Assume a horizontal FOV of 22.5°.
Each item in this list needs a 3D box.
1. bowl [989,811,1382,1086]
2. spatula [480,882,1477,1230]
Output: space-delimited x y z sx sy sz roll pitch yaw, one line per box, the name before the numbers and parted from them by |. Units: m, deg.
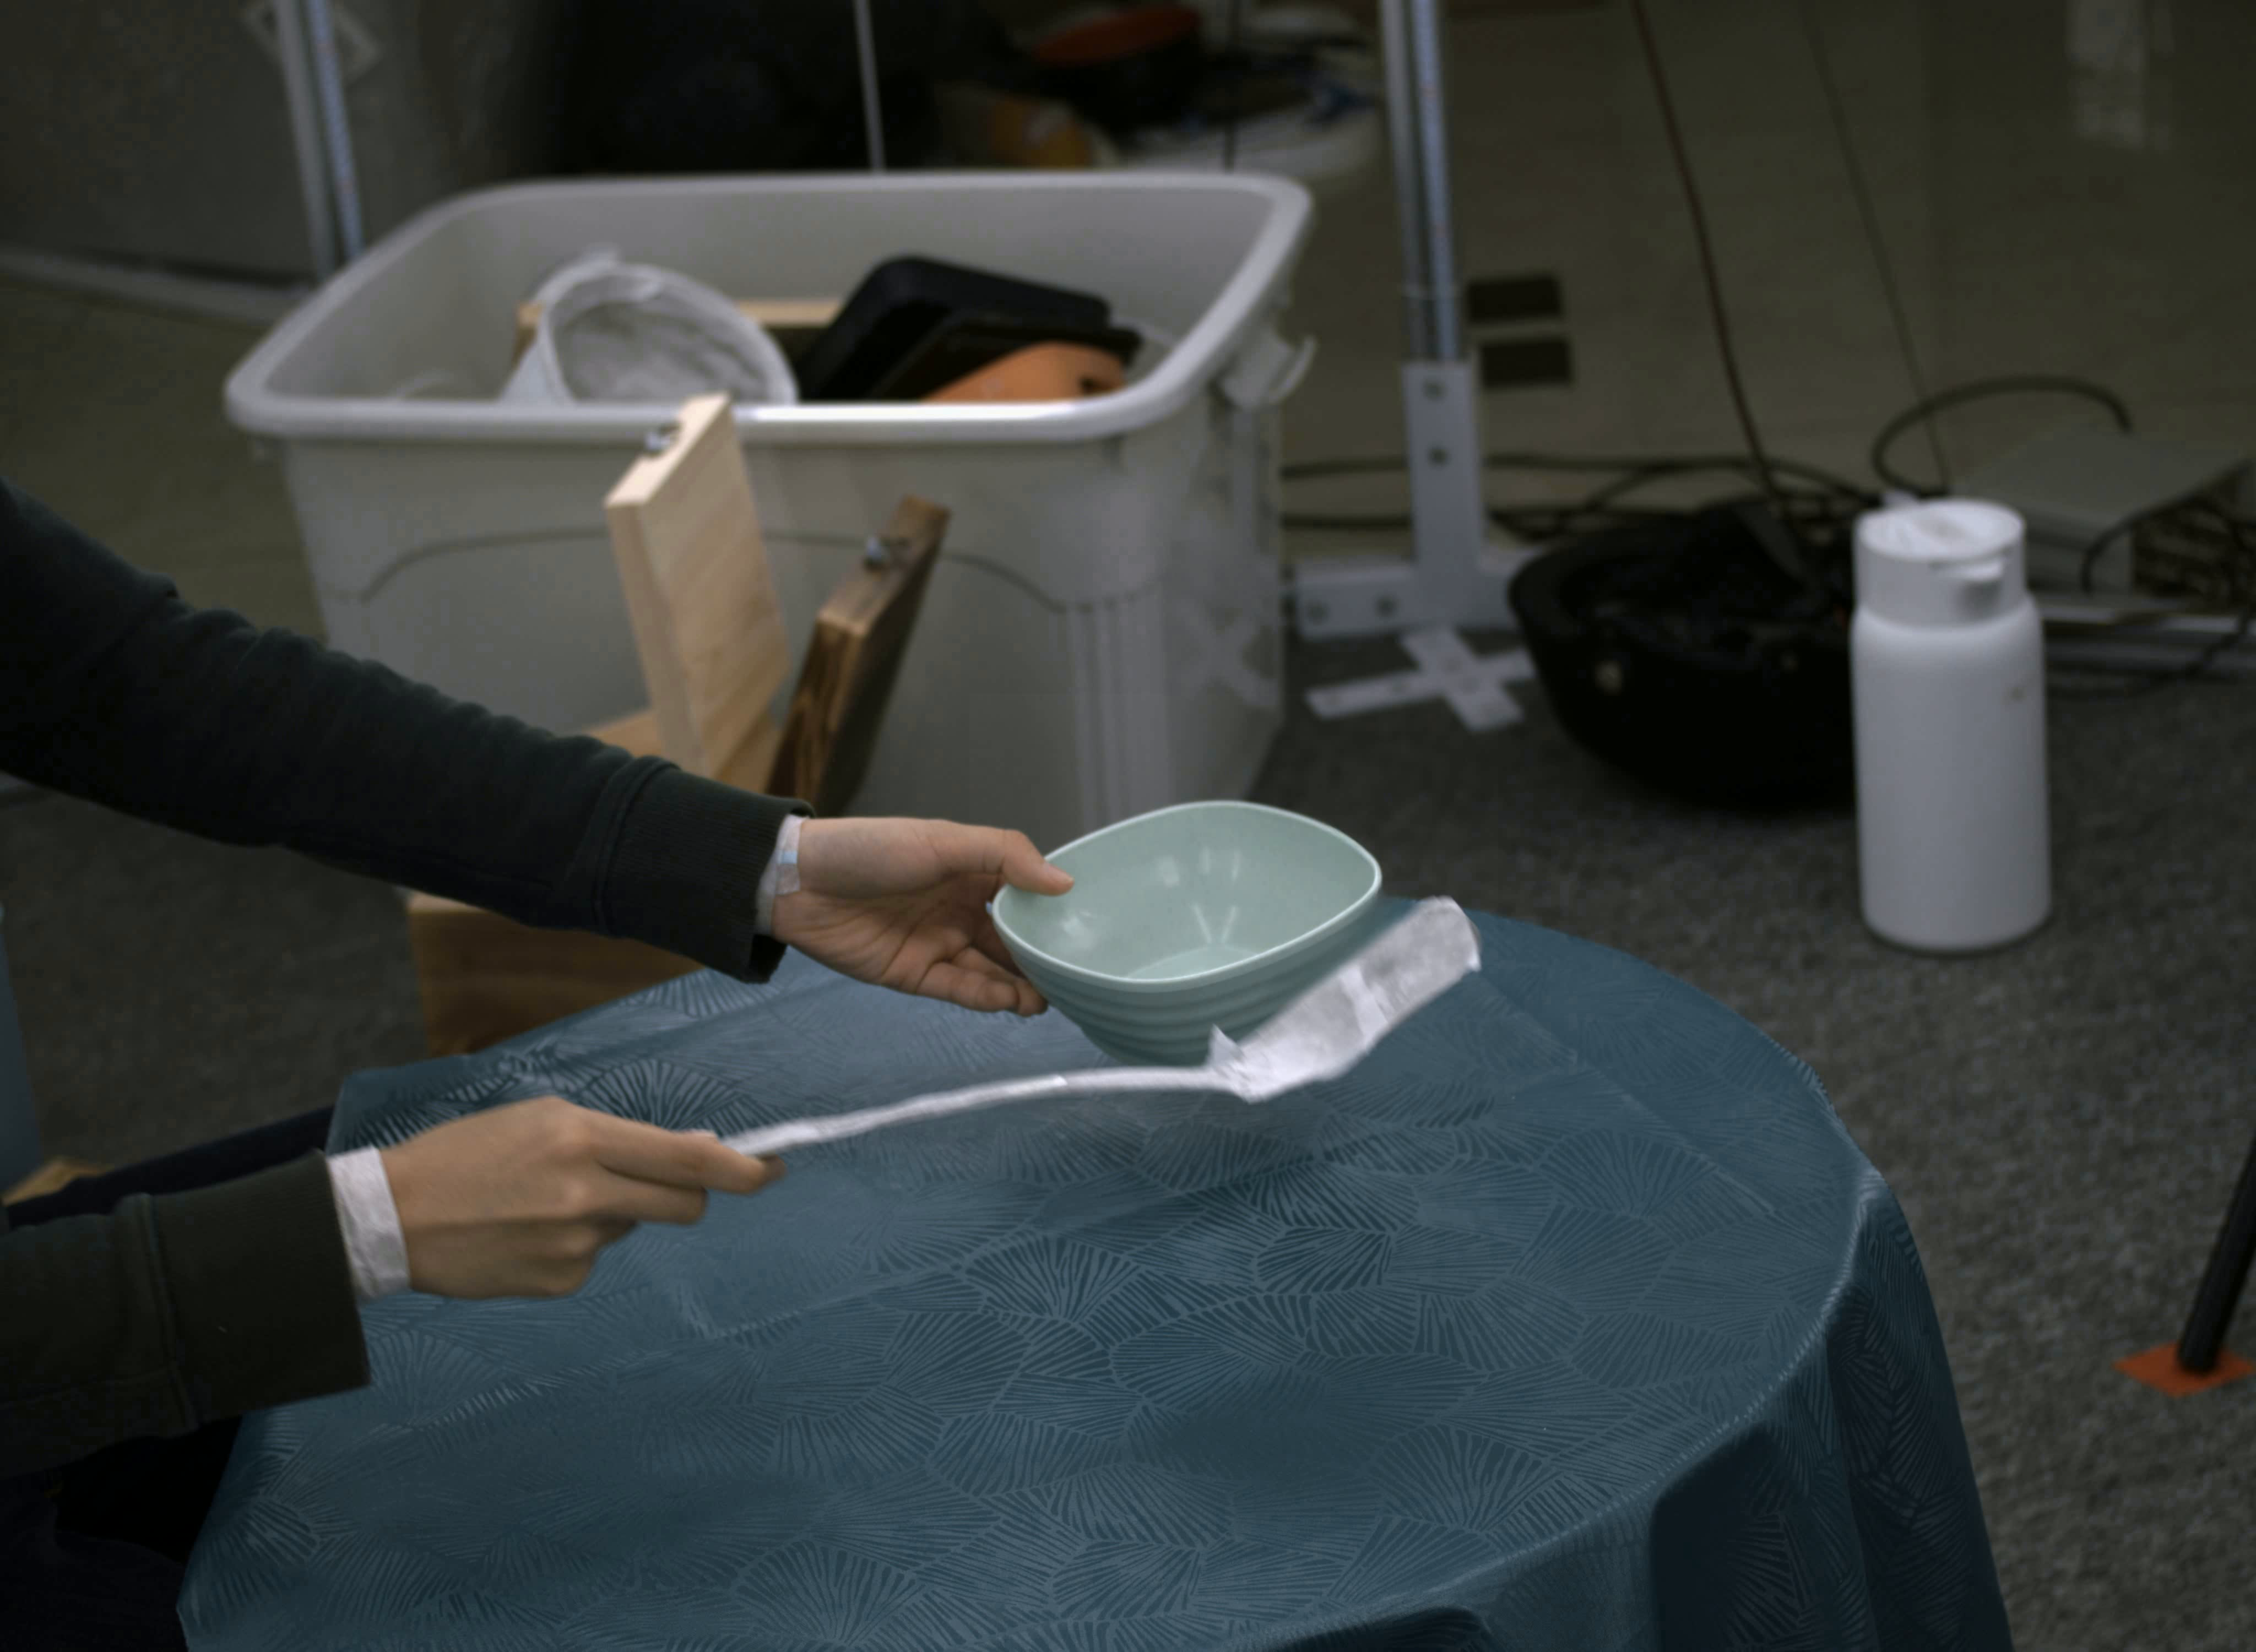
bowl | 0.024 0.052 2.175 0.151 0.059 0.149 -6 26 3
spatula | -0.054 0.087 1.965 0.364 0.045 0.097 -12 18 3
